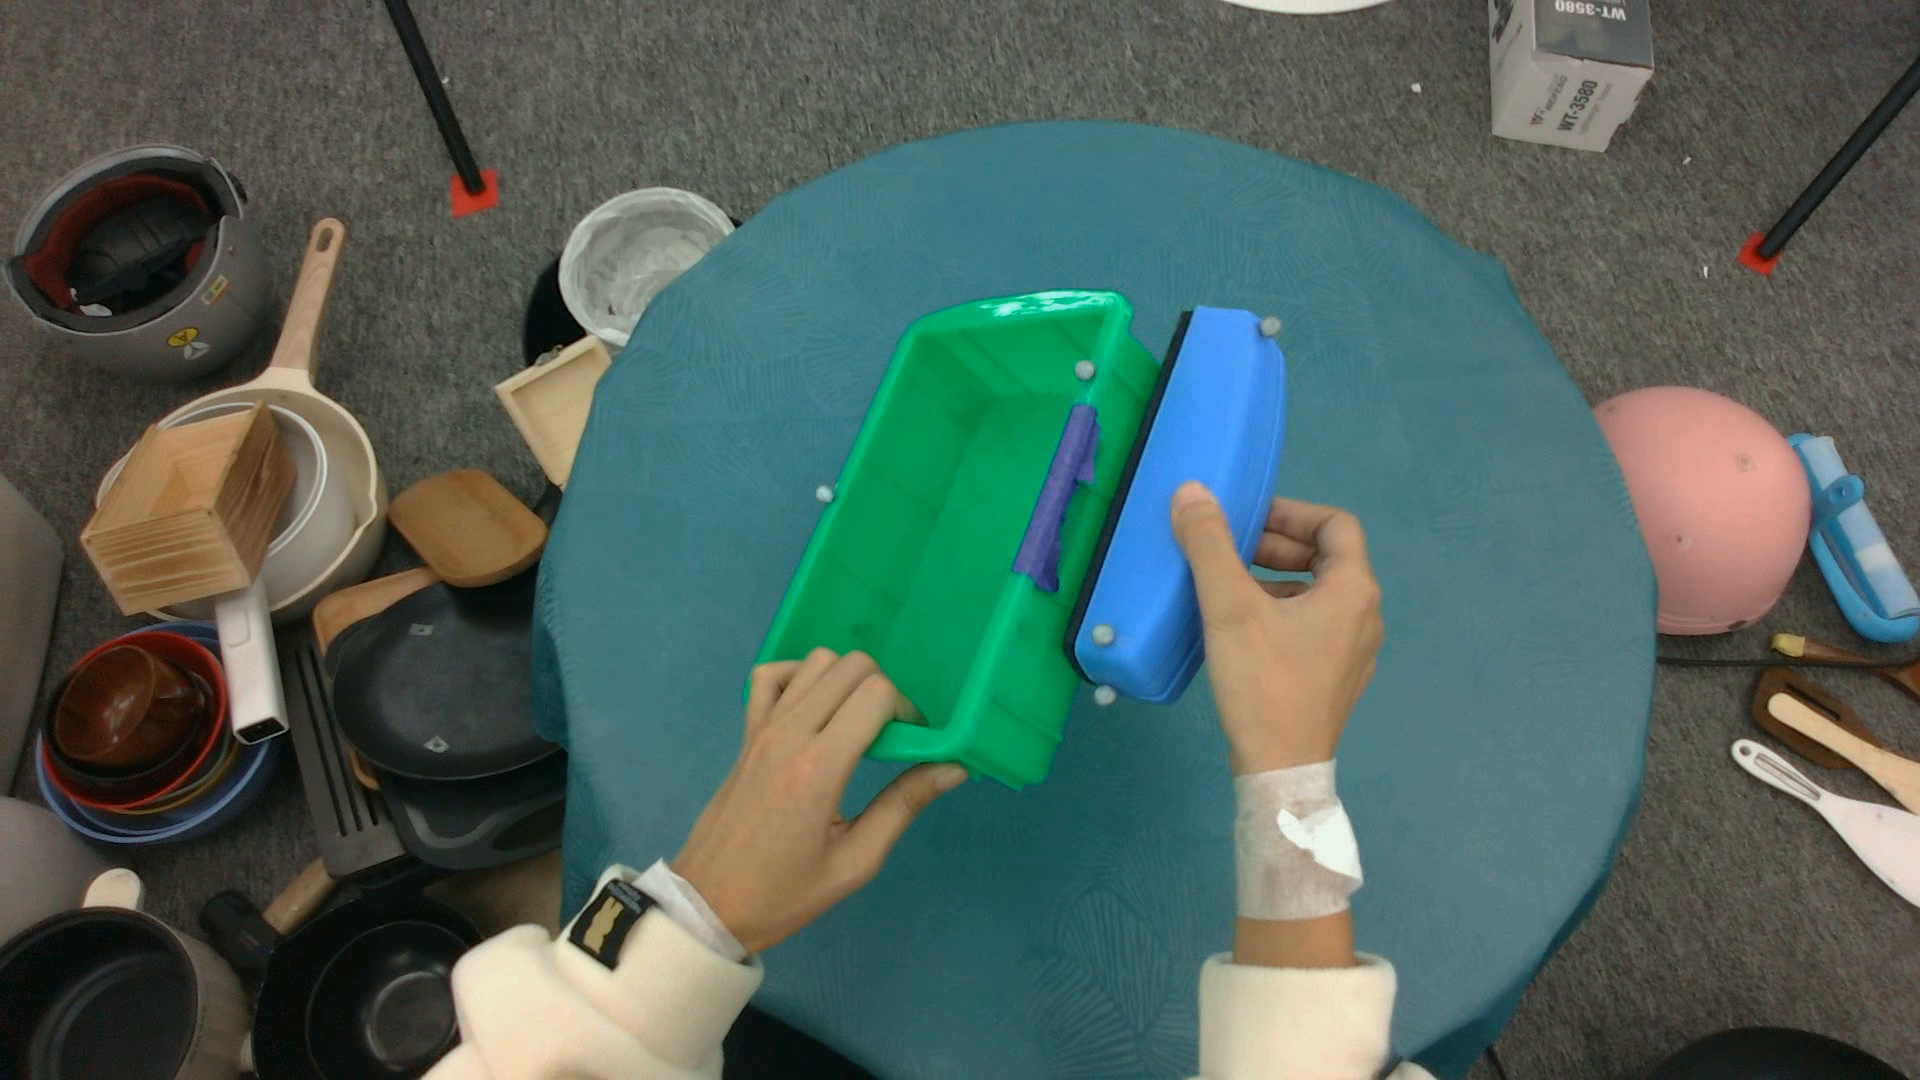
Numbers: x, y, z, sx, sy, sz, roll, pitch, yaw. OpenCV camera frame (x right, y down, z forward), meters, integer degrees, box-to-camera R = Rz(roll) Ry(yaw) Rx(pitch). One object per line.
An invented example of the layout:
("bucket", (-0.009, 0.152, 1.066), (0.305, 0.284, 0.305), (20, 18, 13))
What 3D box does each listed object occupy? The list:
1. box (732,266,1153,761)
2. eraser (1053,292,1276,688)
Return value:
("box", (0.000, -0.010, 0.585), (0.138, 0.065, 0.211), (2, 63, 44))
("eraser", (0.090, -0.021, 0.550), (0.047, 0.054, 0.162), (9, 69, 34))
